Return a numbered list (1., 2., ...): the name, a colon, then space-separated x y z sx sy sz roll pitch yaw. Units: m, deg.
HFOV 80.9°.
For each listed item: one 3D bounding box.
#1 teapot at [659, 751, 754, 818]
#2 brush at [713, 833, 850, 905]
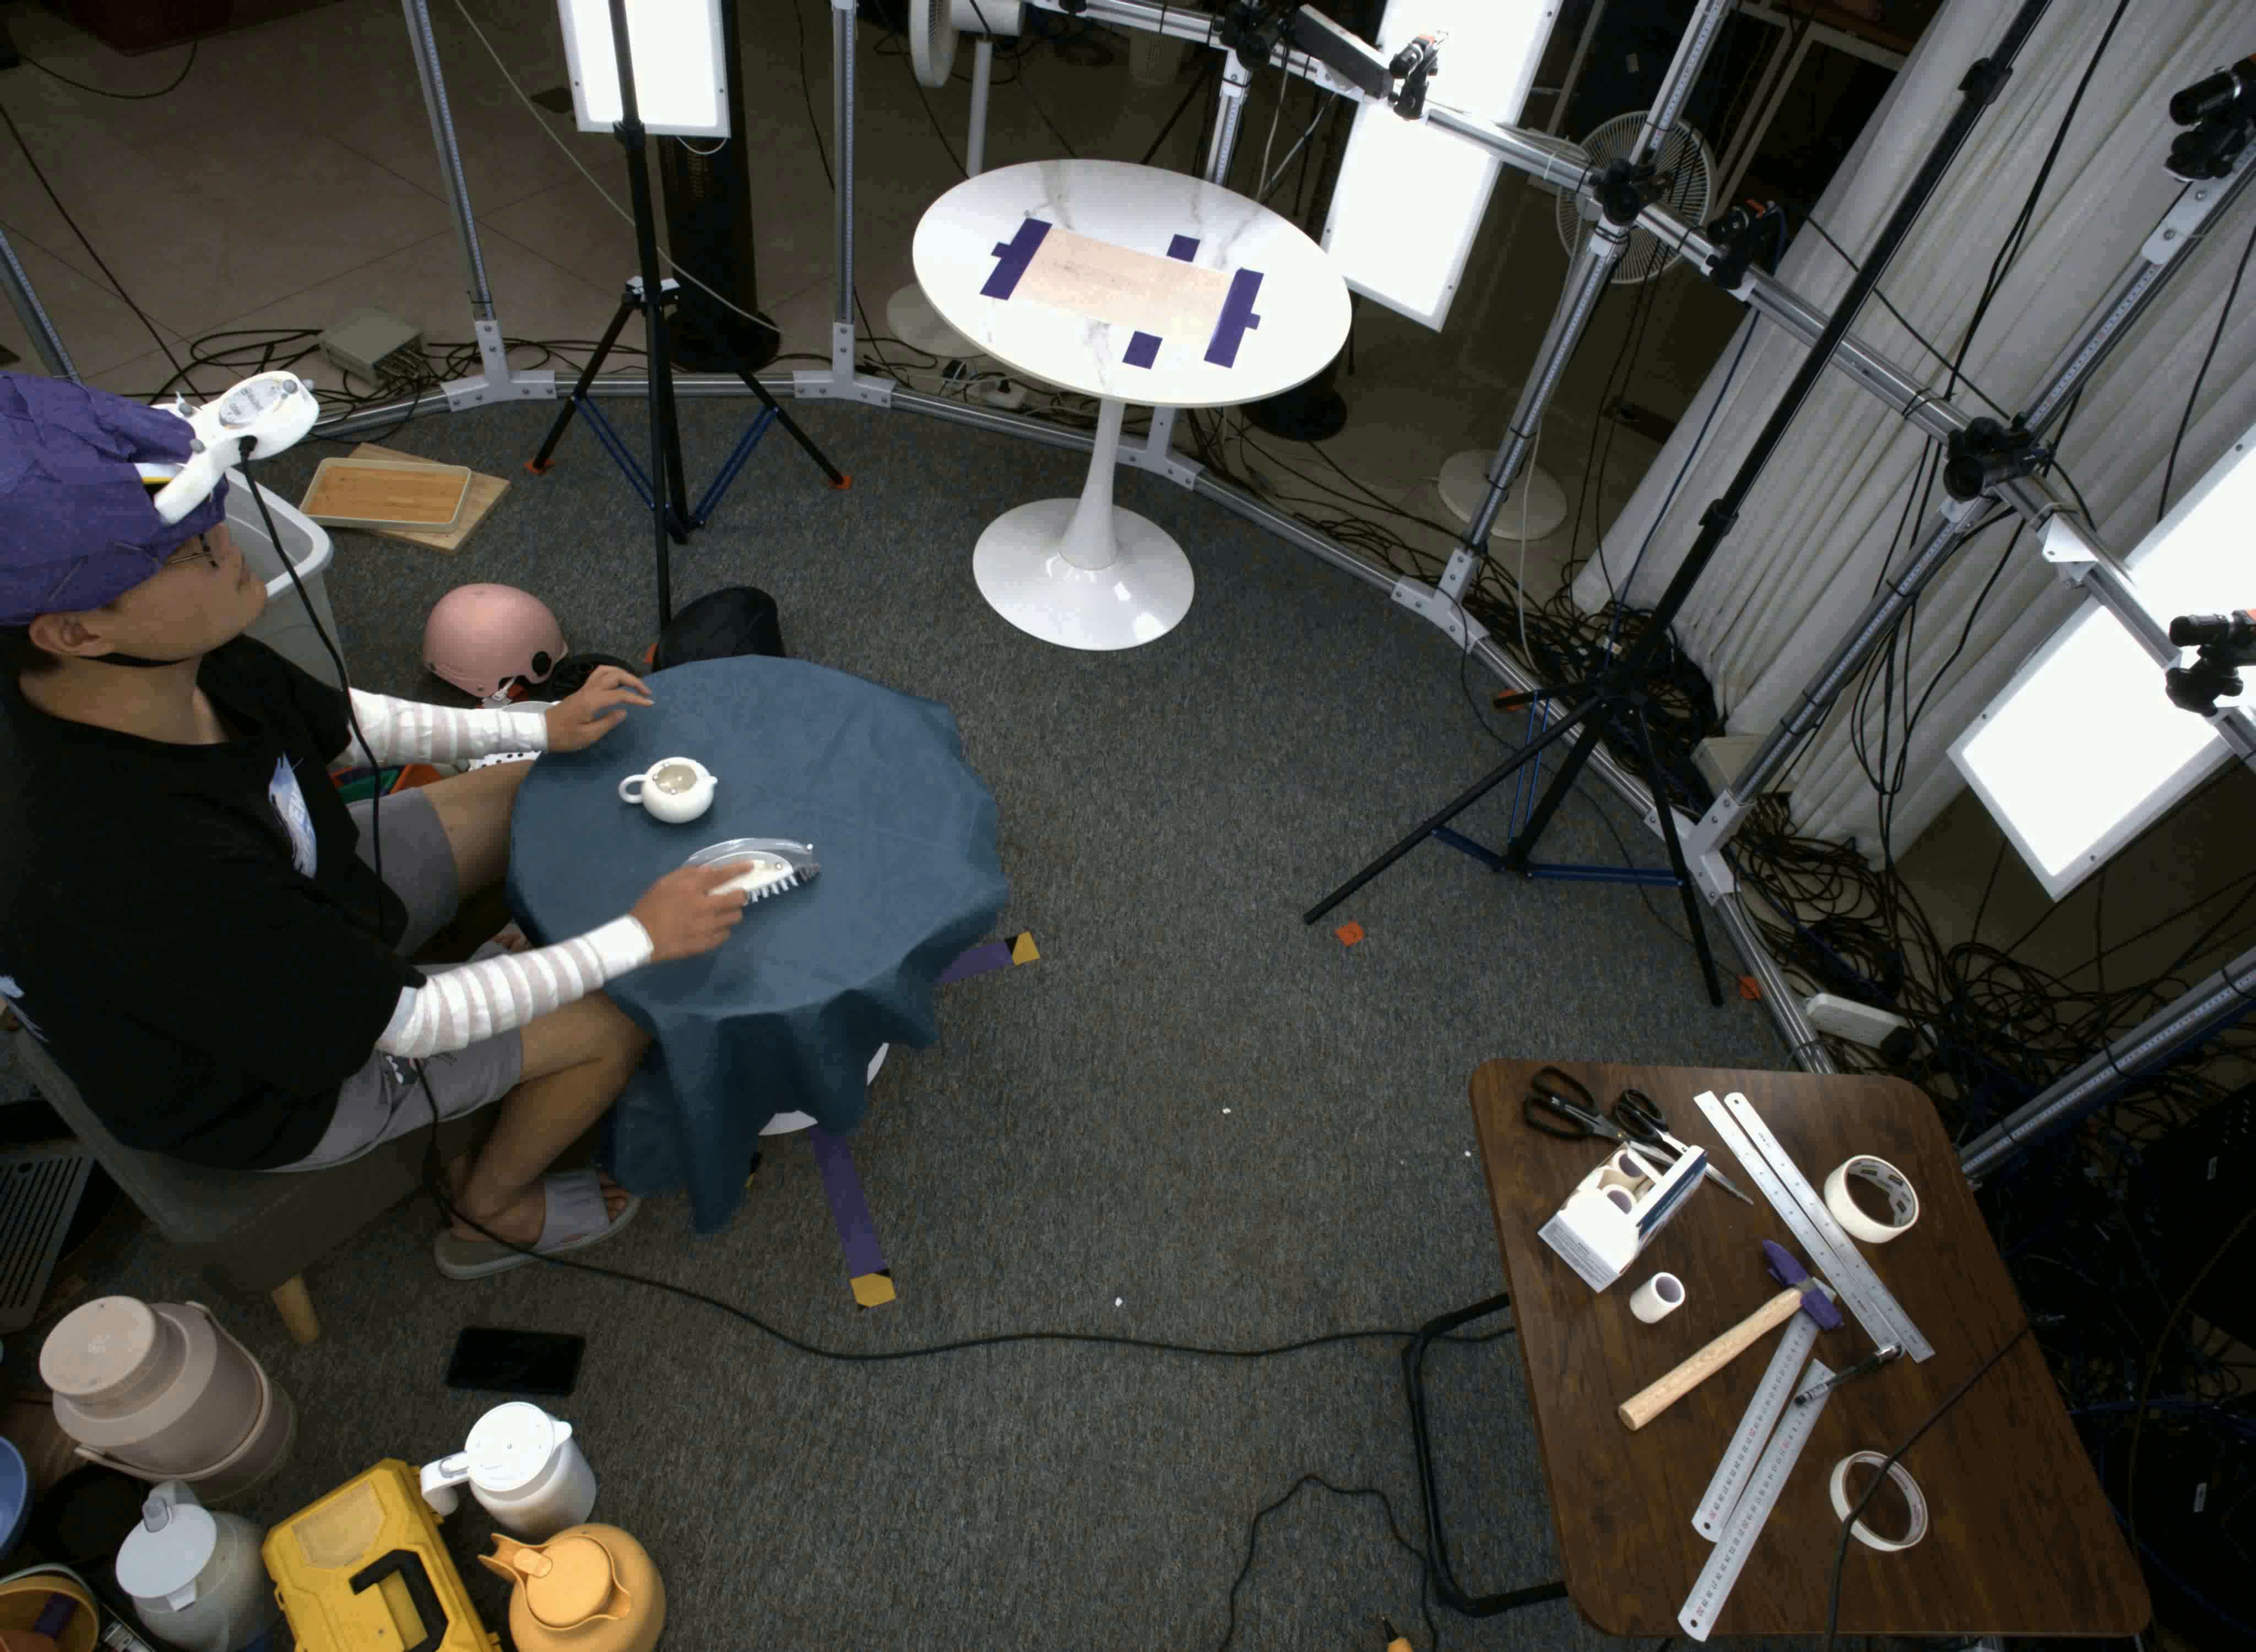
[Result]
1. teapot: -0.558 -0.056 1.708 0.127 0.058 0.092 -1 58 -13
2. brush: -0.438 0.040 1.642 0.176 0.096 0.060 -10 57 -22
